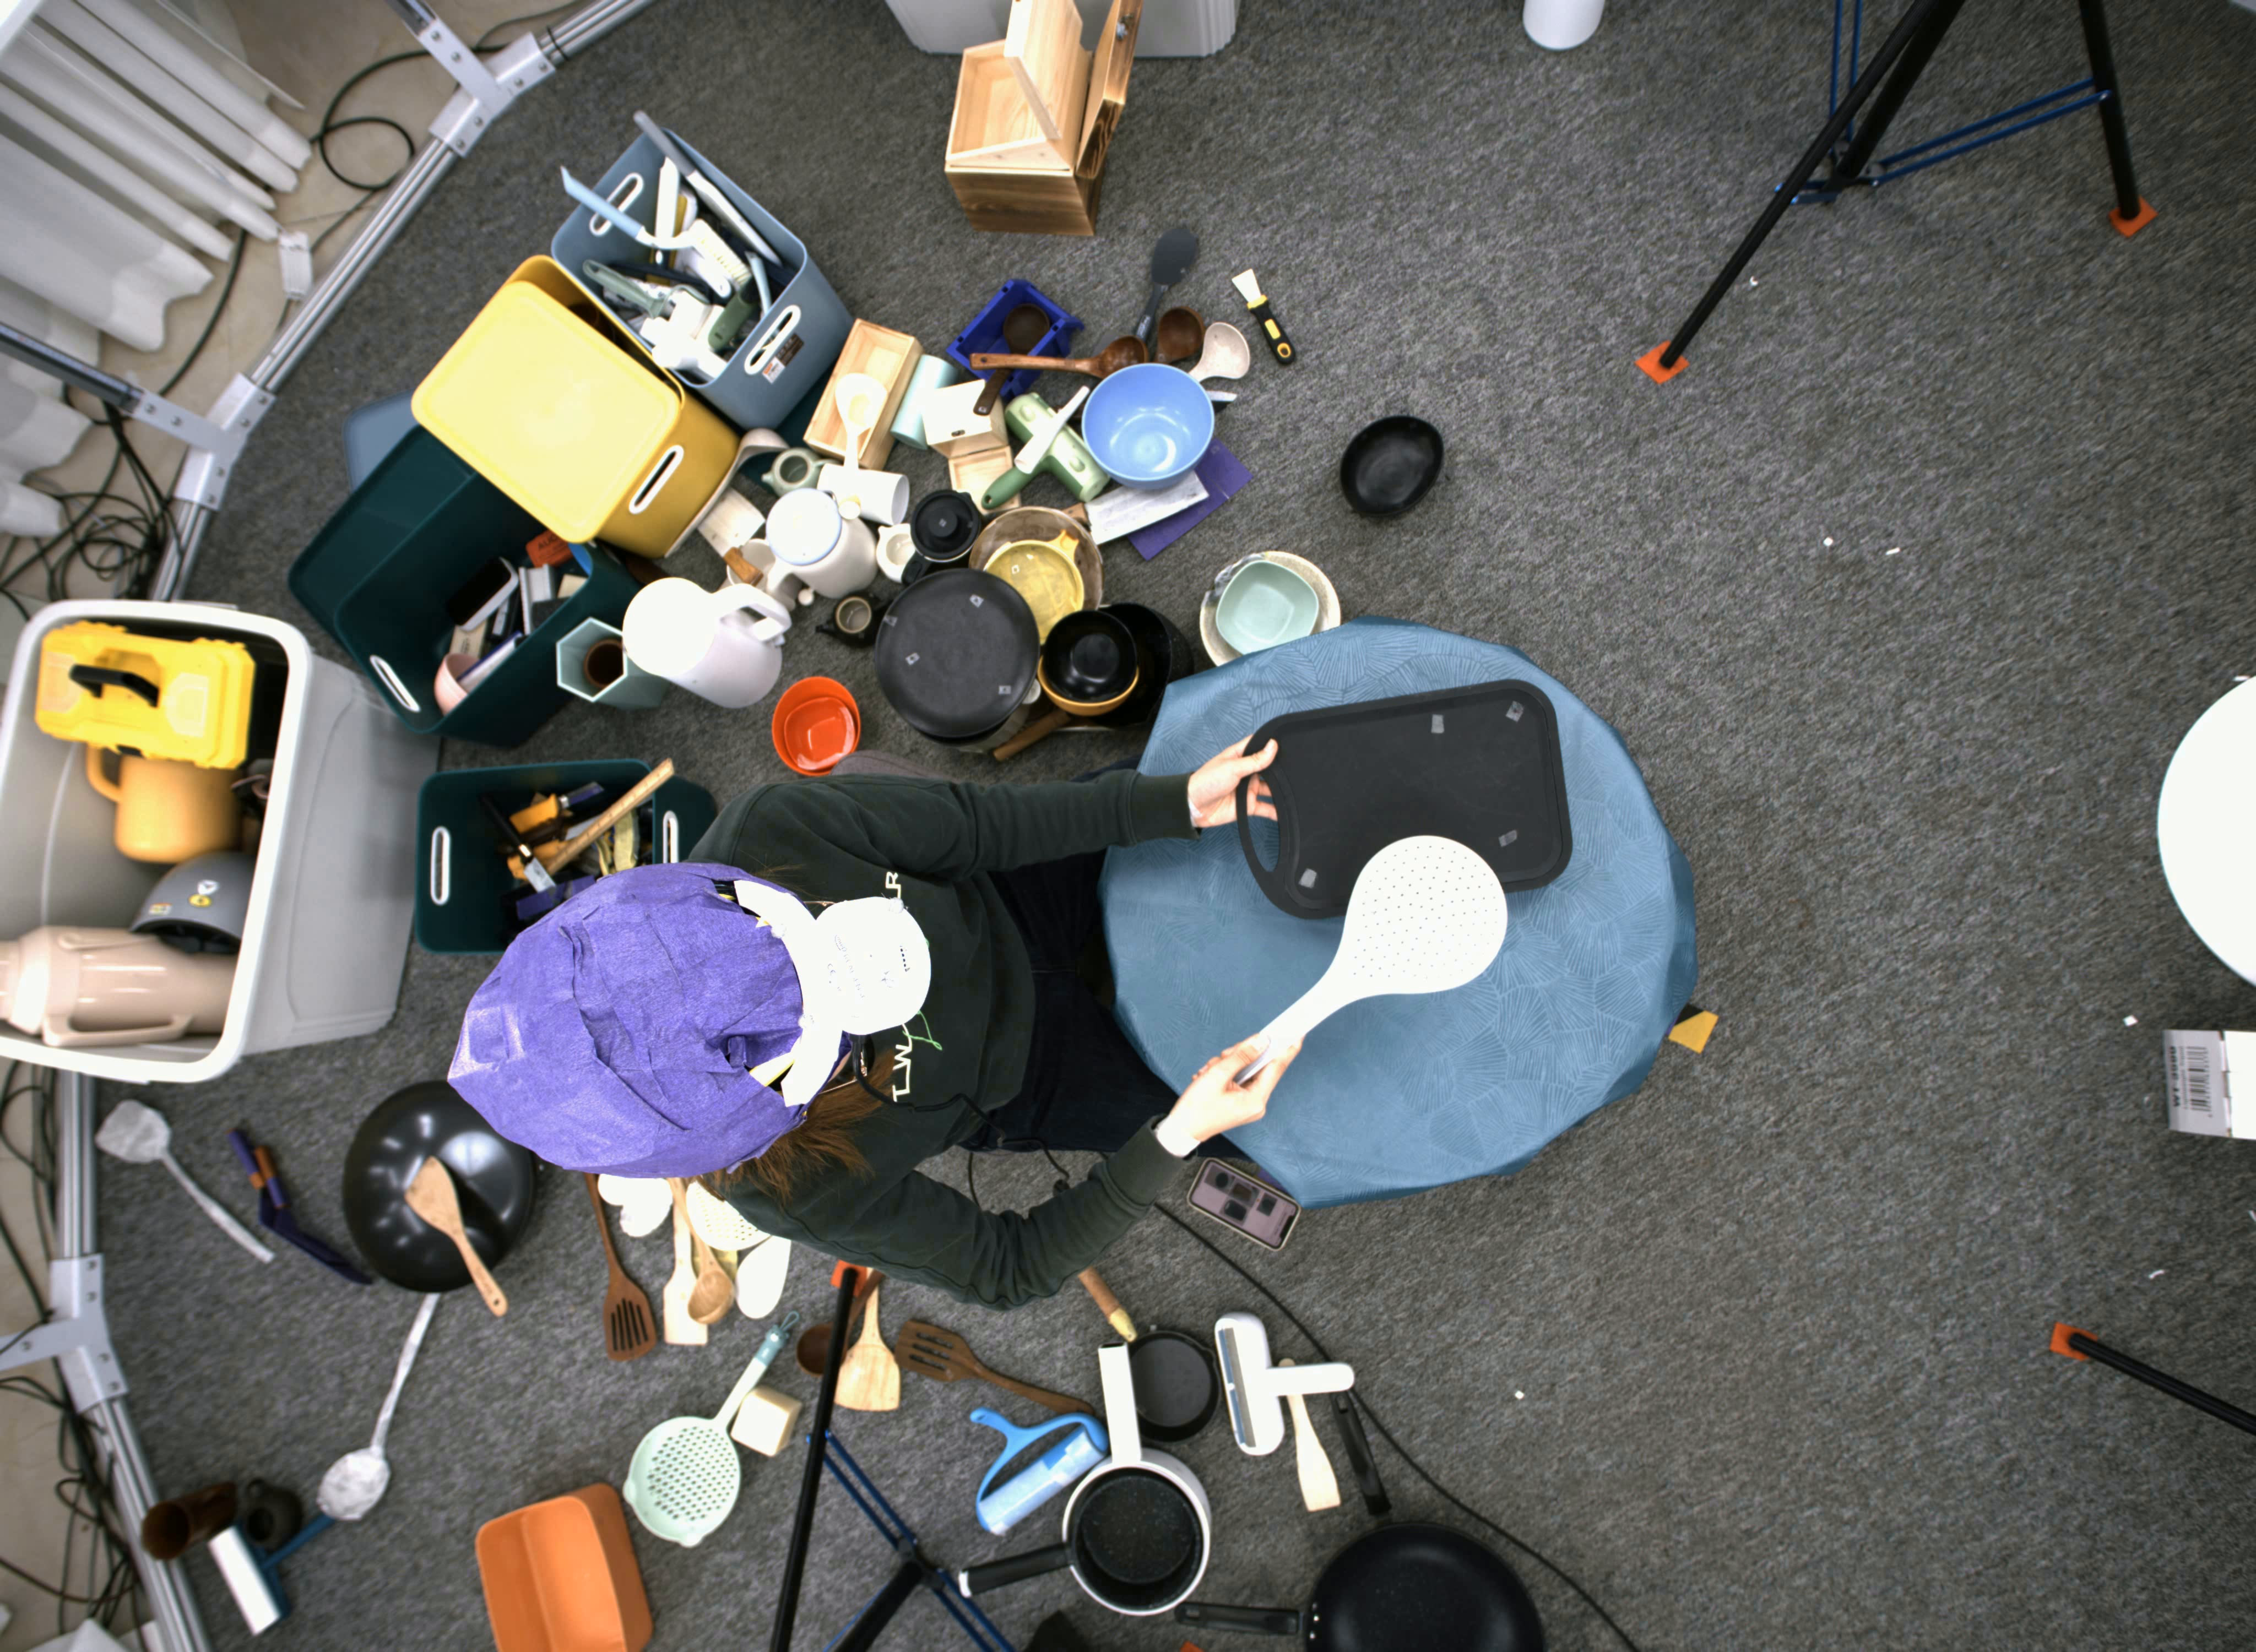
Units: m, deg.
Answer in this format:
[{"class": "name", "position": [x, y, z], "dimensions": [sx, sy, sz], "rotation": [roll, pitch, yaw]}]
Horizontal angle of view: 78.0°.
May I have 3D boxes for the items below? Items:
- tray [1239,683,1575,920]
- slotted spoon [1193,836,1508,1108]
[{"class": "tray", "position": [0.274, -0.022, 1.372], "dimensions": [0.327, 0.010, 0.212], "rotation": [-8, 97, 8]}, {"class": "slotted spoon", "position": [0.194, 0.146, 1.271], "dimensions": [0.353, 0.045, 0.135], "rotation": [-41, 80, 13]}]
